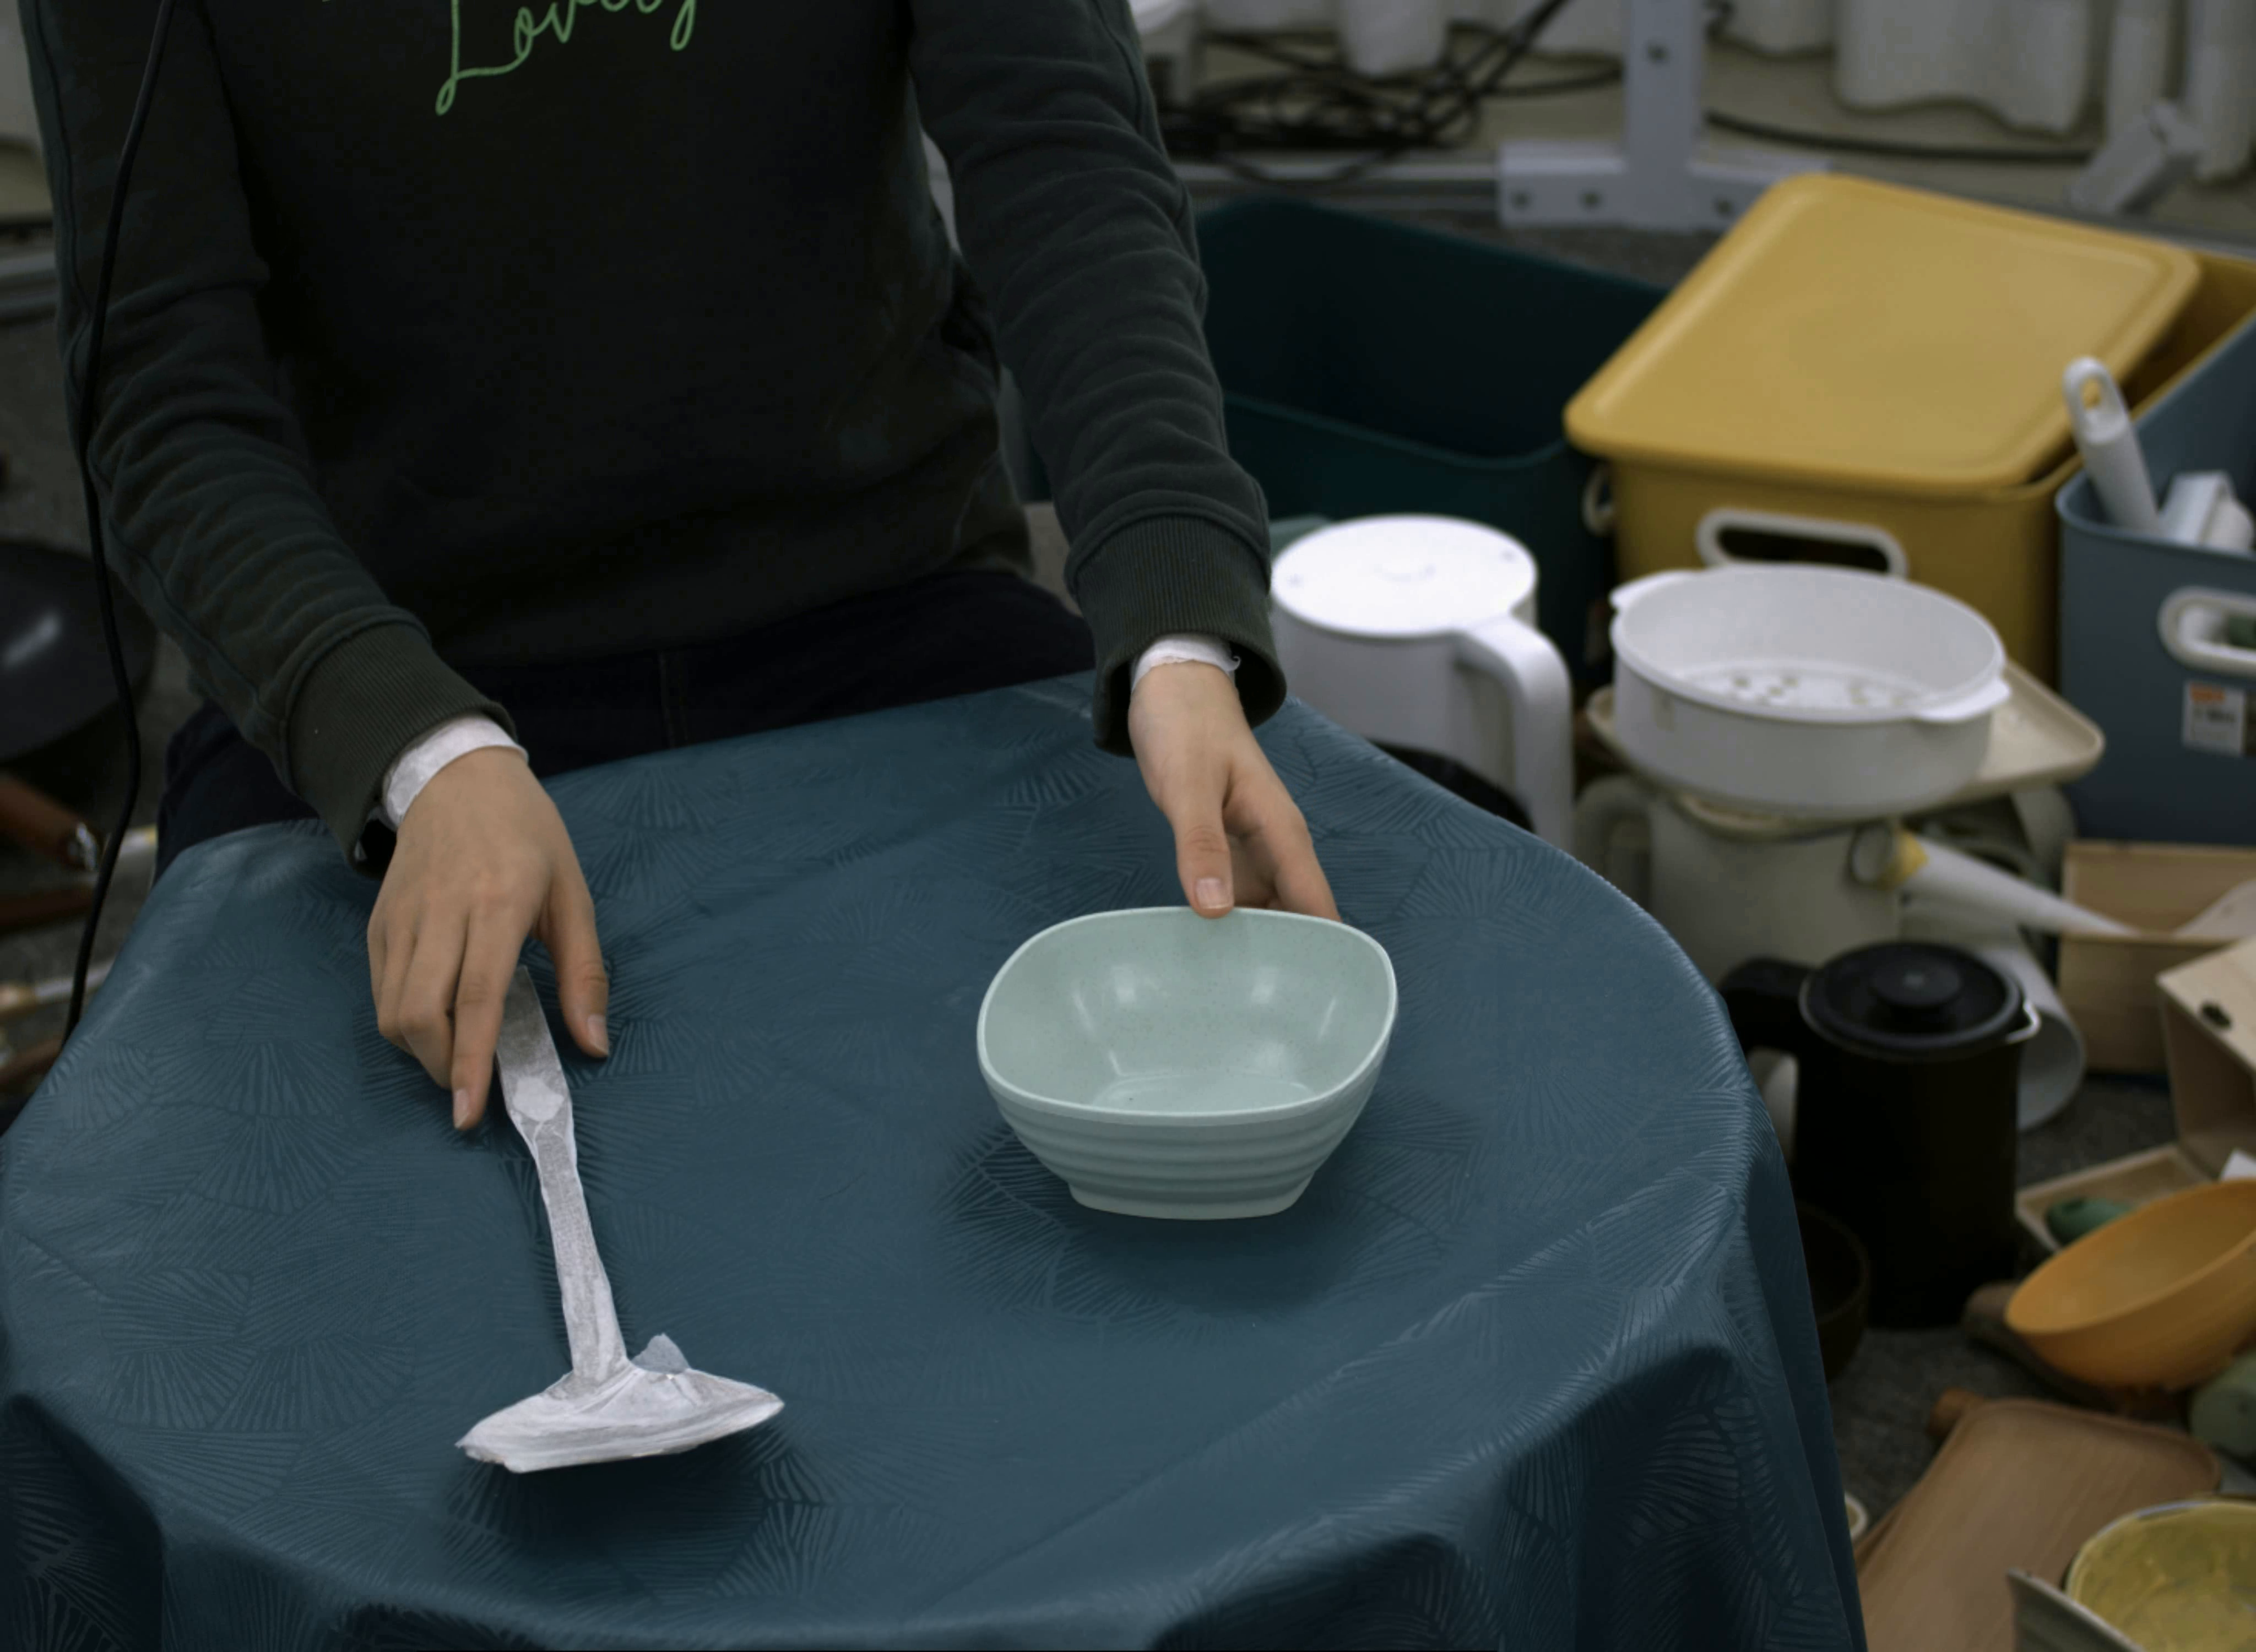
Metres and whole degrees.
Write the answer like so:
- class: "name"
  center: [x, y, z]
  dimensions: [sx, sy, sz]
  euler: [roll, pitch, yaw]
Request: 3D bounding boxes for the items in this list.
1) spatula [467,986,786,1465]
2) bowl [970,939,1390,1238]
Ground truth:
- class: "spatula"
  center: [-0.180, 0.122, 1.836]
  dimensions: [0.098, 0.044, 0.369]
  euler: [-9, 28, -8]
- class: "bowl"
  center: [0.018, 0.092, 1.869]
  dimensions: [0.151, 0.058, 0.153]
  euler: [-1, 23, 1]
